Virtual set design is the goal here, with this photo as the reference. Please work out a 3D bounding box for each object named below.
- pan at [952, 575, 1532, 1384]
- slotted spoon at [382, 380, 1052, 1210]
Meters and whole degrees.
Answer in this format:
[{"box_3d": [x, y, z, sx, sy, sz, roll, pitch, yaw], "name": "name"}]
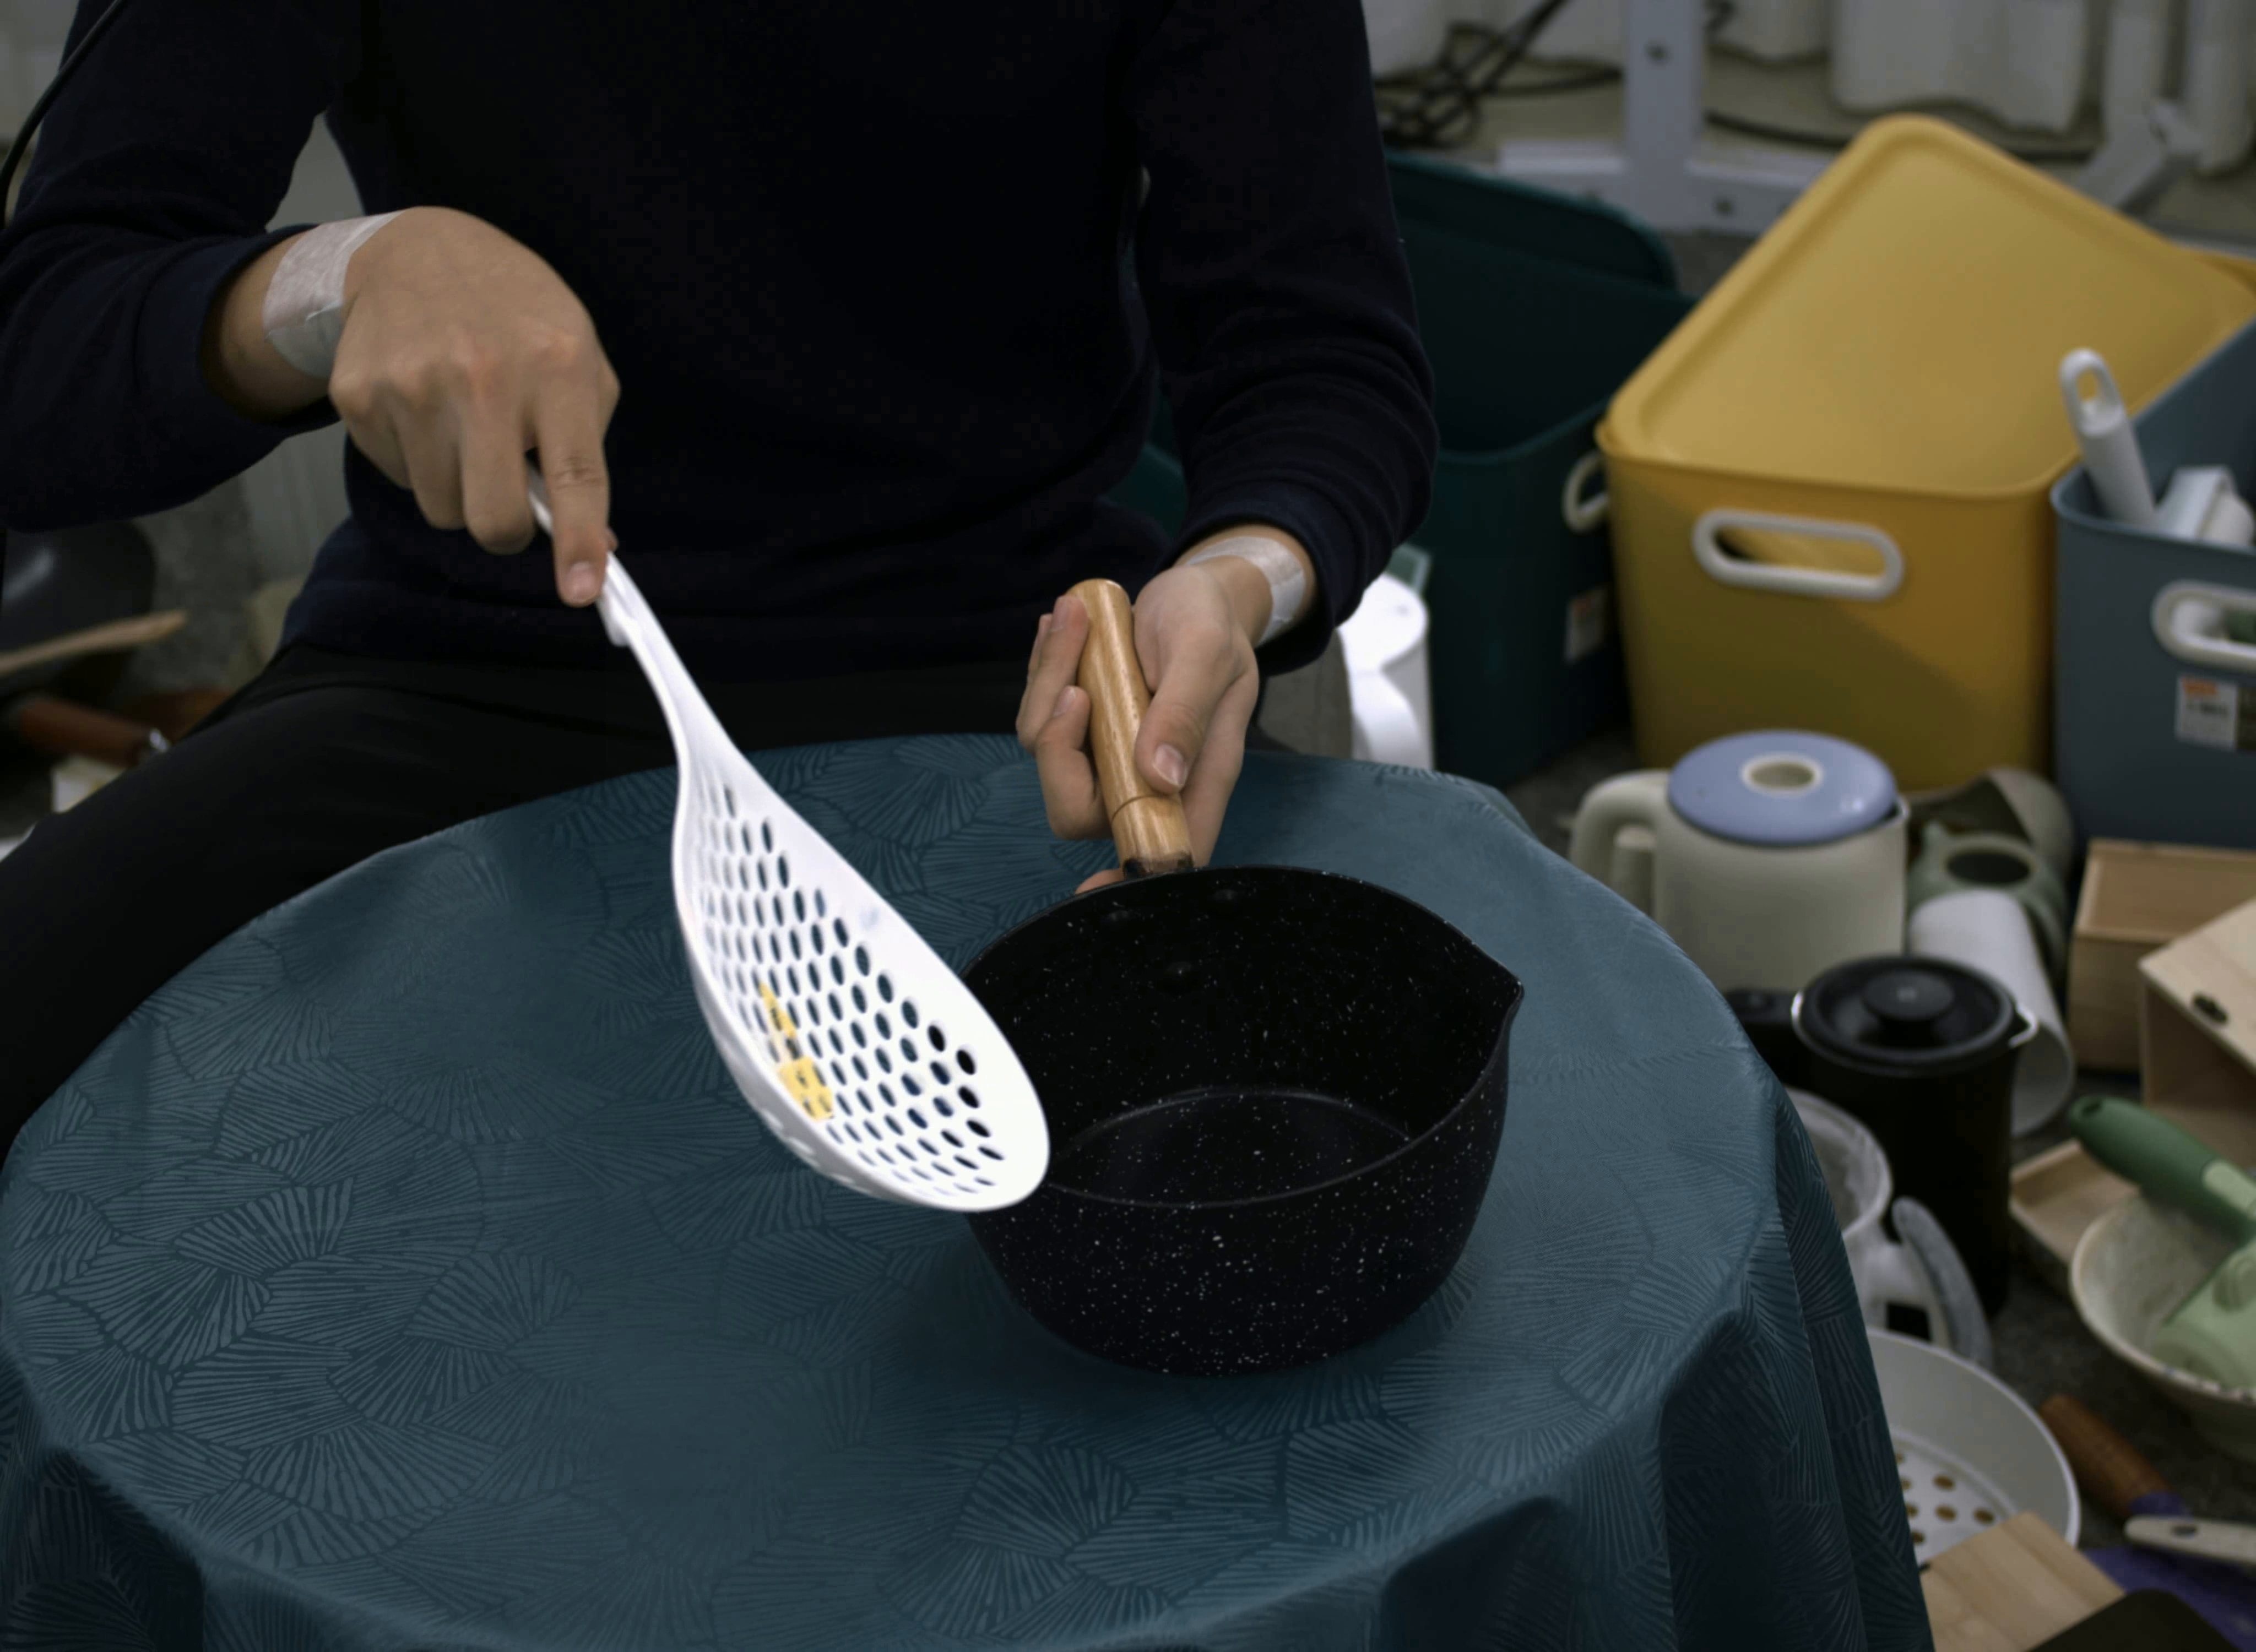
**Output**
[{"box_3d": [0.016, 0.047, 1.862, 0.207, 0.107, 0.348, -10, 34, -6], "name": "pan"}, {"box_3d": [-0.139, -0.015, 1.751, 0.137, 0.049, 0.351, 7, 49, -54], "name": "slotted spoon"}]
